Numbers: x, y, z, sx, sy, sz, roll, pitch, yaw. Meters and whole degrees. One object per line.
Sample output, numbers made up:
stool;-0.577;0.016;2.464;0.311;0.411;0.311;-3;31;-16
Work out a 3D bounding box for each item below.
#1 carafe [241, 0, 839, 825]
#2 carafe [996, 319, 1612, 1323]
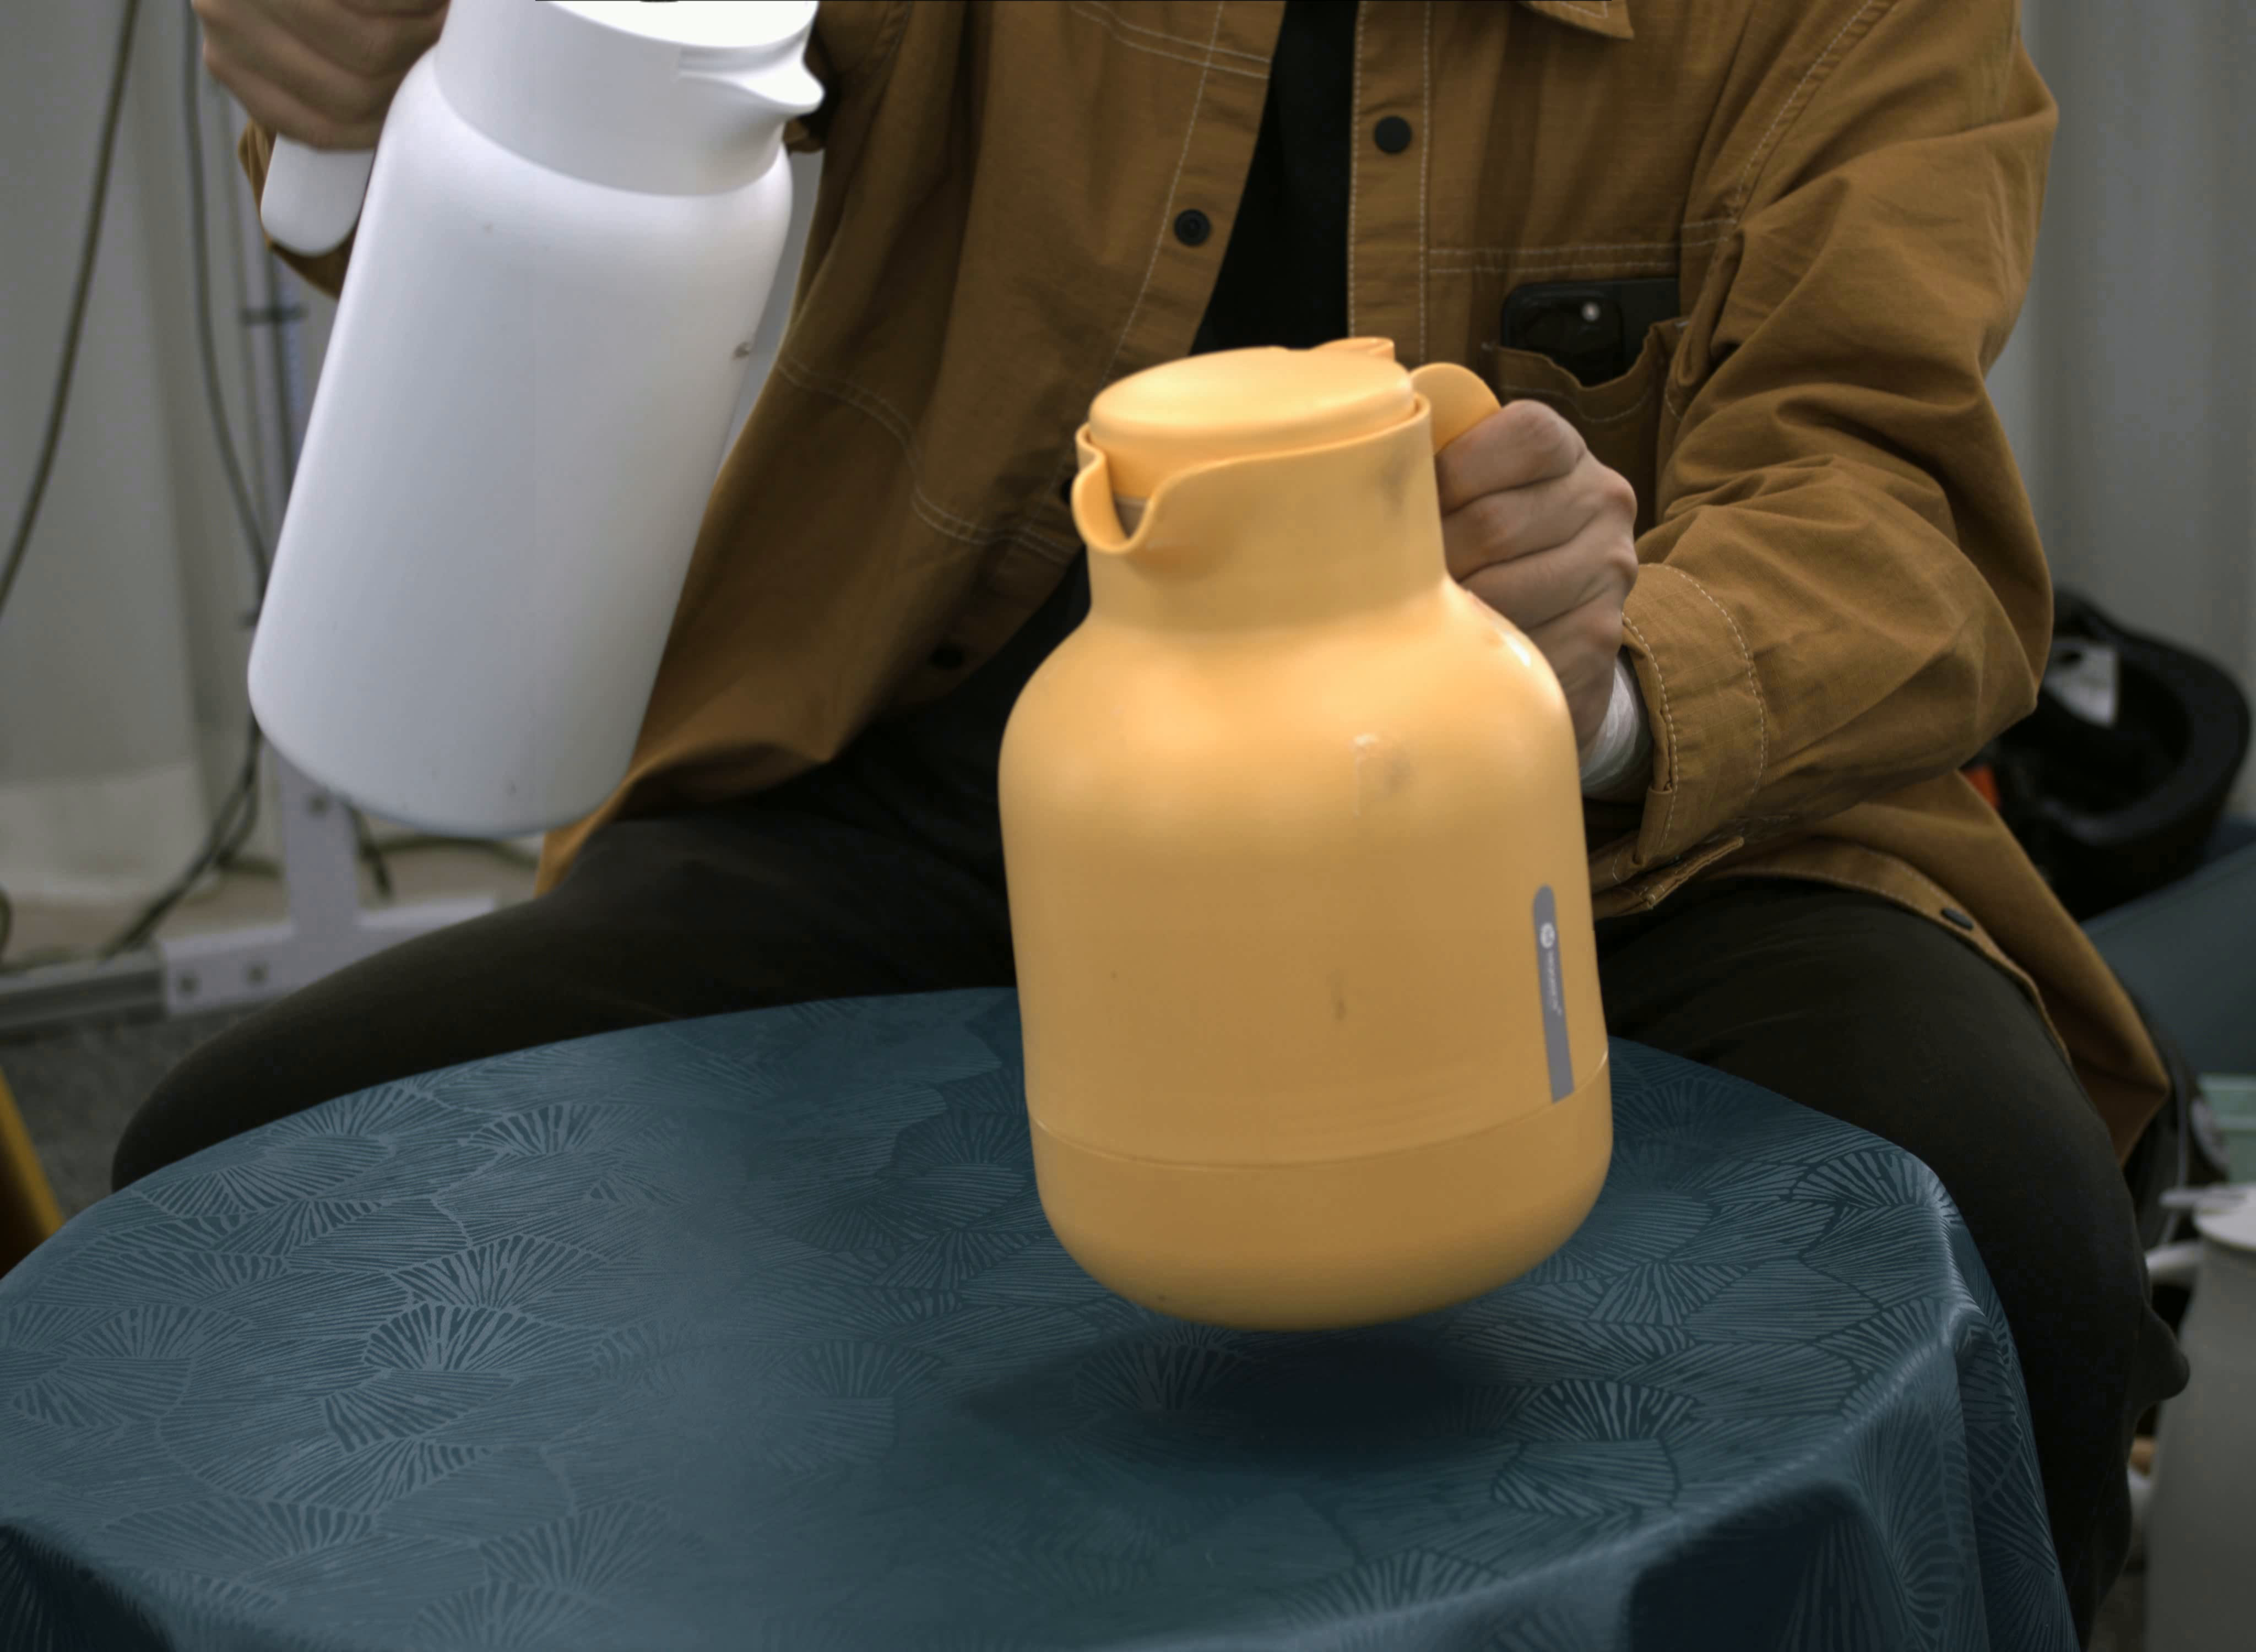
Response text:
carafe;-0.183;-0.146;1.581;0.174;0.266;0.124;36;35;24
carafe;0.057;-0.010;1.522;0.164;0.259;0.202;8;22;36
